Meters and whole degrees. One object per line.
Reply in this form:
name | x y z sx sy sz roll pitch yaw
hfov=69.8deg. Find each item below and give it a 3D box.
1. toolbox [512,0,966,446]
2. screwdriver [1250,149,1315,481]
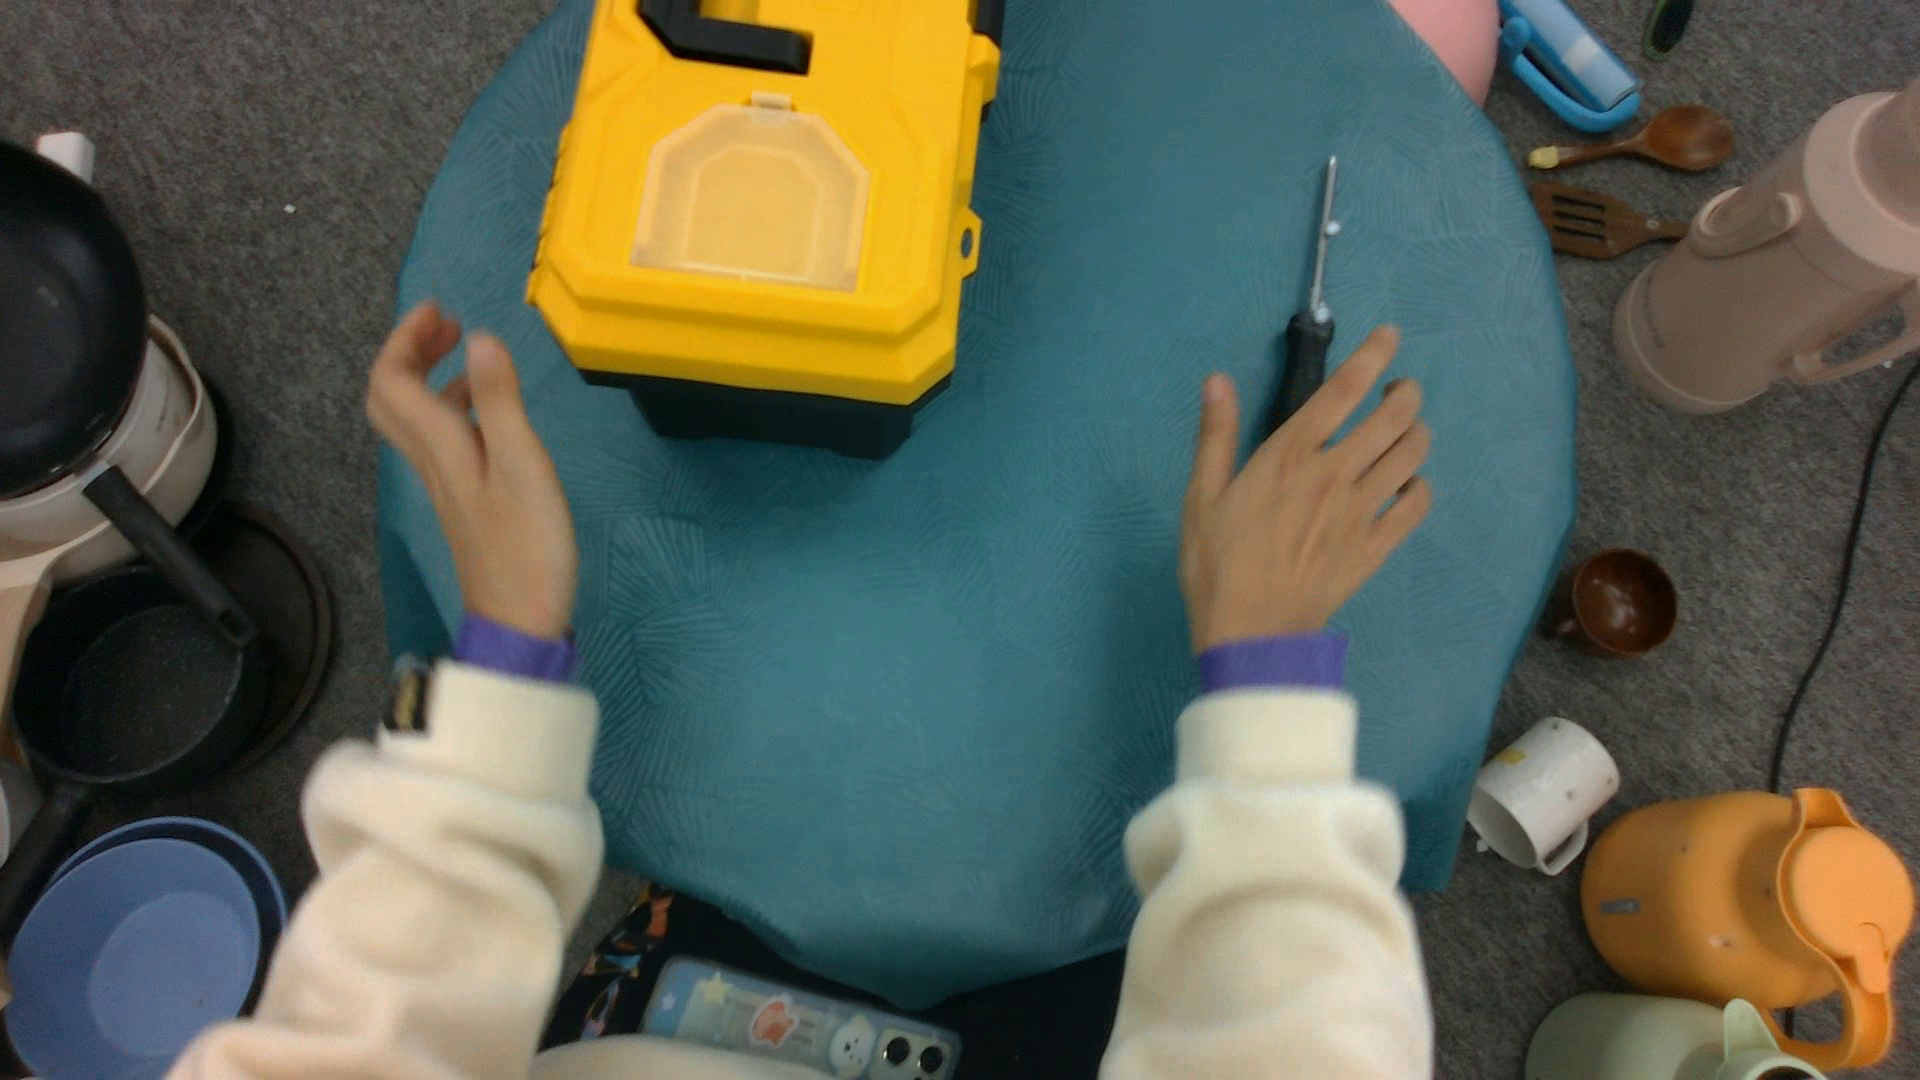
toolbox | -0.082 -0.224 0.636 0.181 0.172 0.352 6 73 -3
screwdriver | 0.173 -0.121 0.703 0.031 0.031 0.197 13 71 -1
